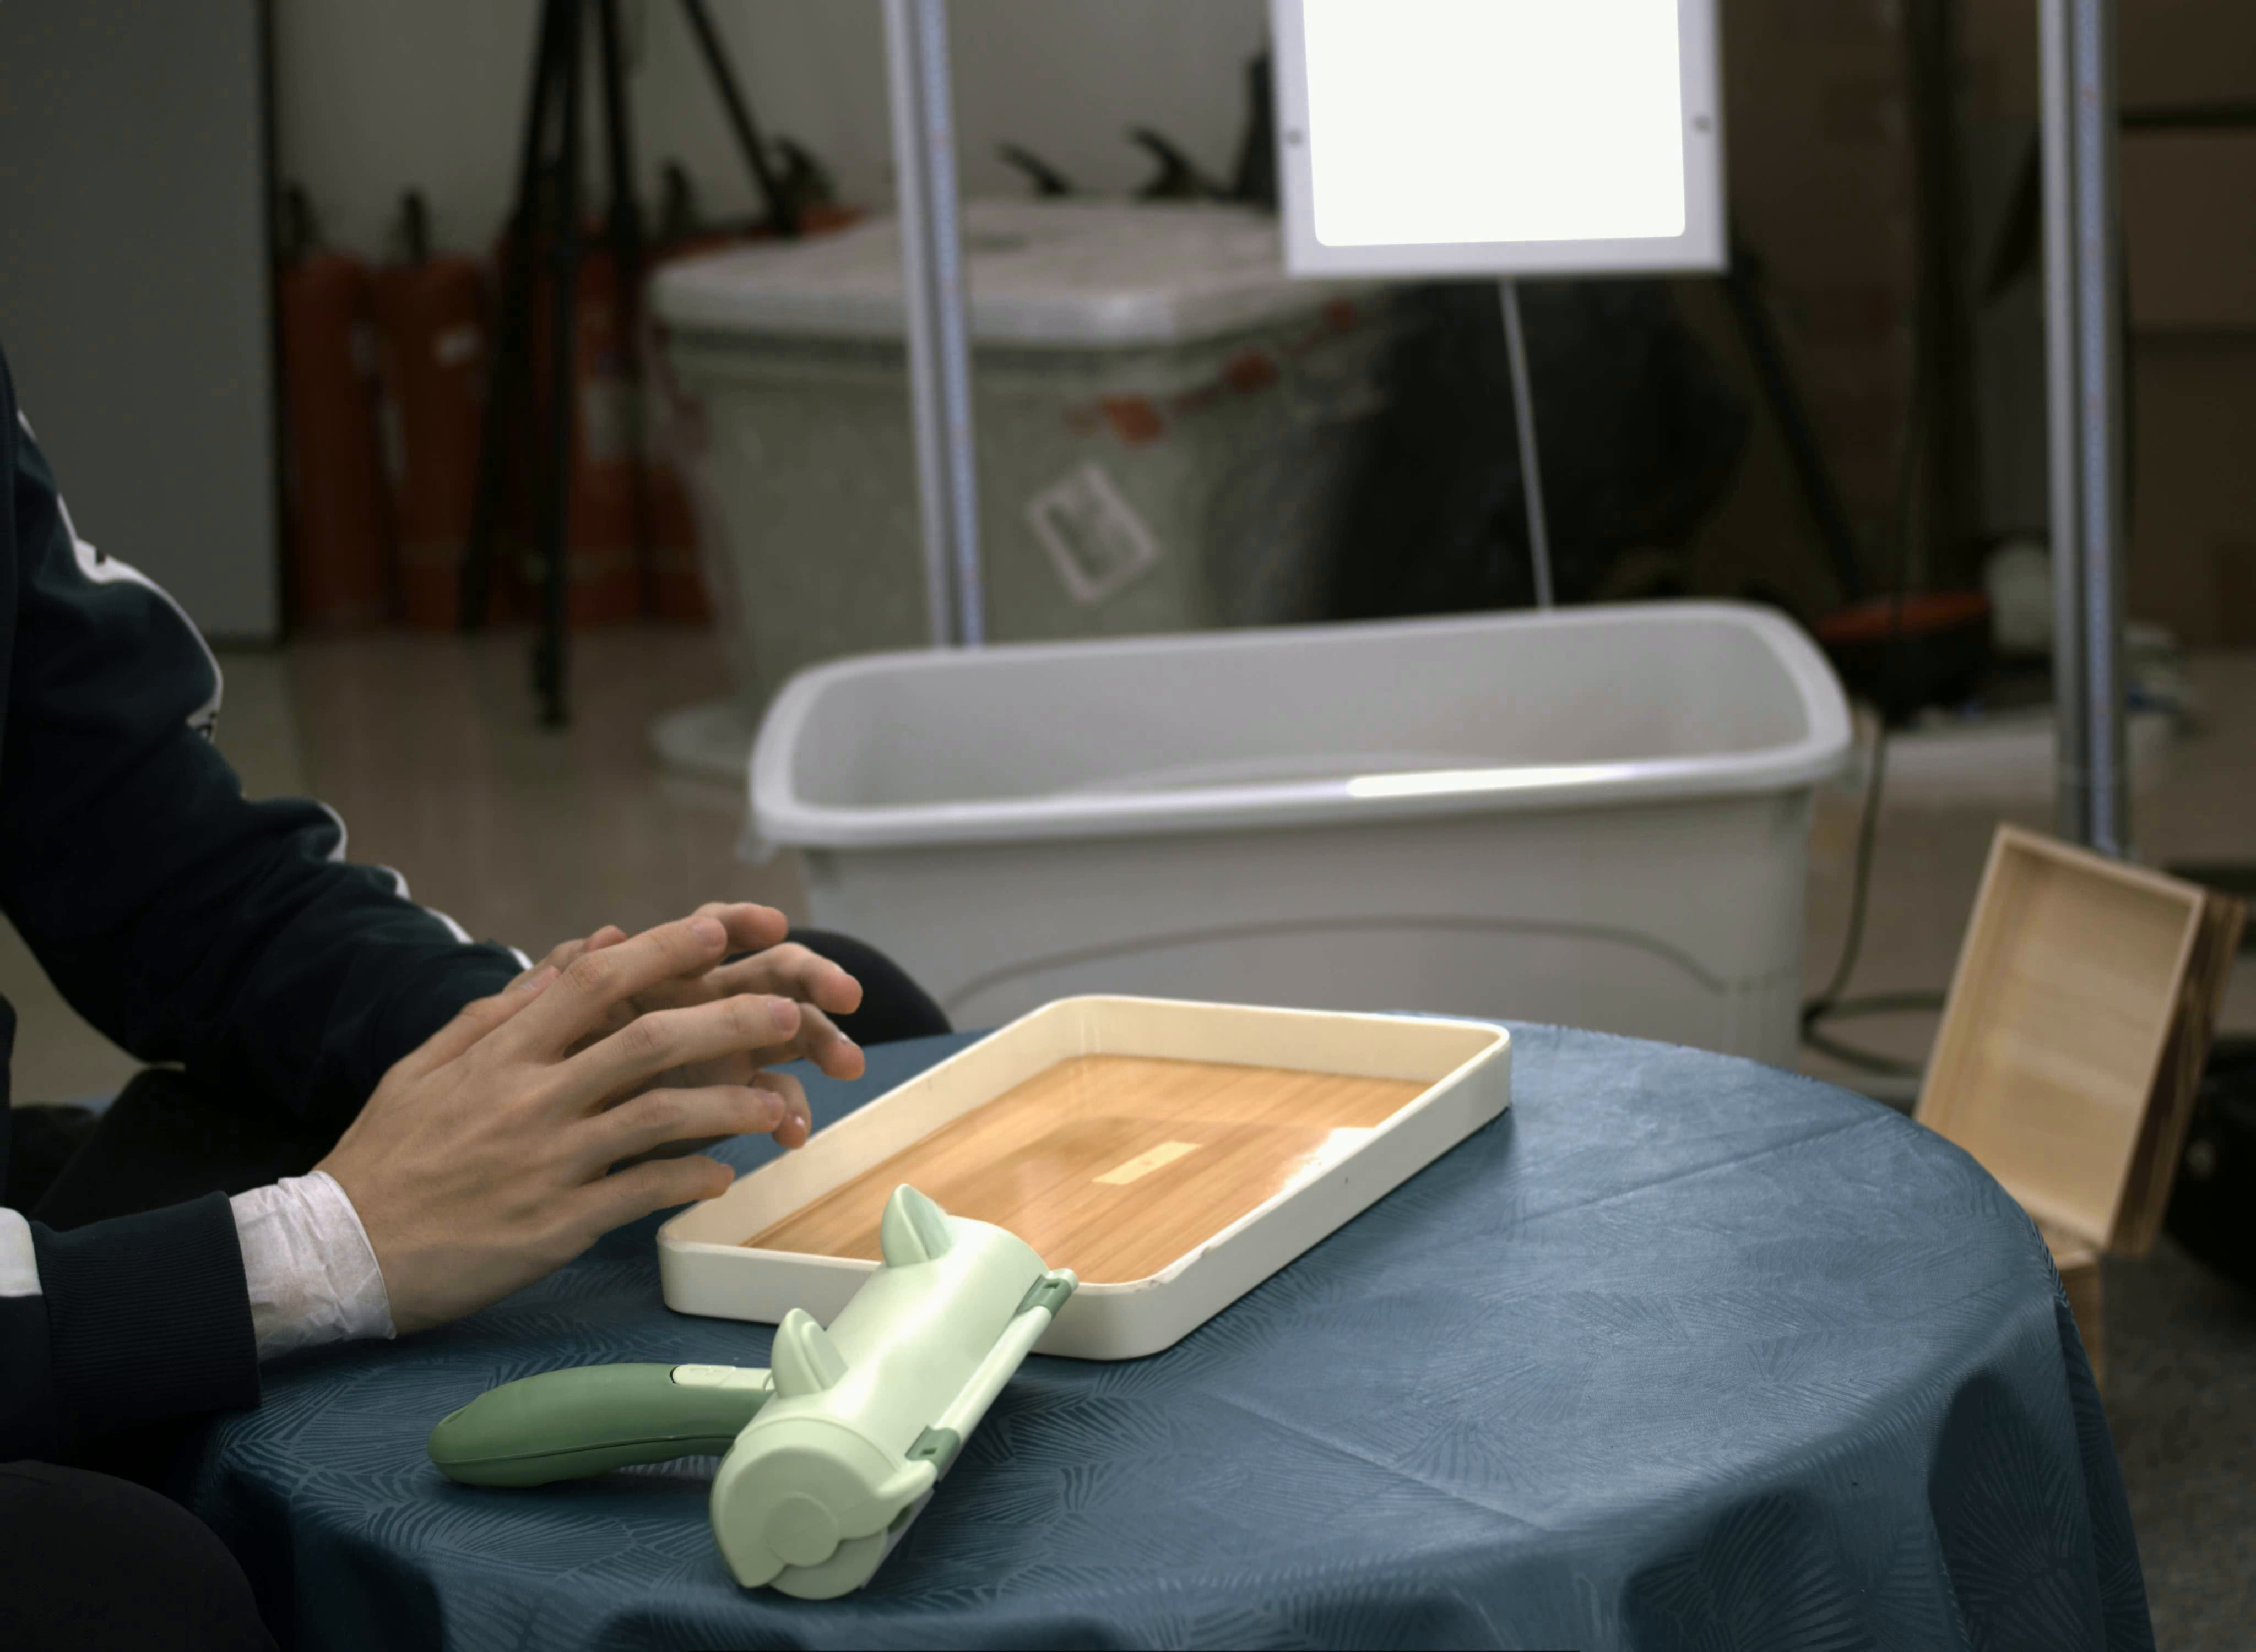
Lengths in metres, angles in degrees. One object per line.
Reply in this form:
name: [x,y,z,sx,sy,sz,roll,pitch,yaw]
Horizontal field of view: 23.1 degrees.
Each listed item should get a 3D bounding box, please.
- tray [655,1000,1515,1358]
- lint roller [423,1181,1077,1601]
tray: [-0.008,0.116,1.884,0.195,0.027,0.293,2,15,30]
lint roller: [-0.124,0.160,1.642,0.185,0.082,0.196,3,15,14]
